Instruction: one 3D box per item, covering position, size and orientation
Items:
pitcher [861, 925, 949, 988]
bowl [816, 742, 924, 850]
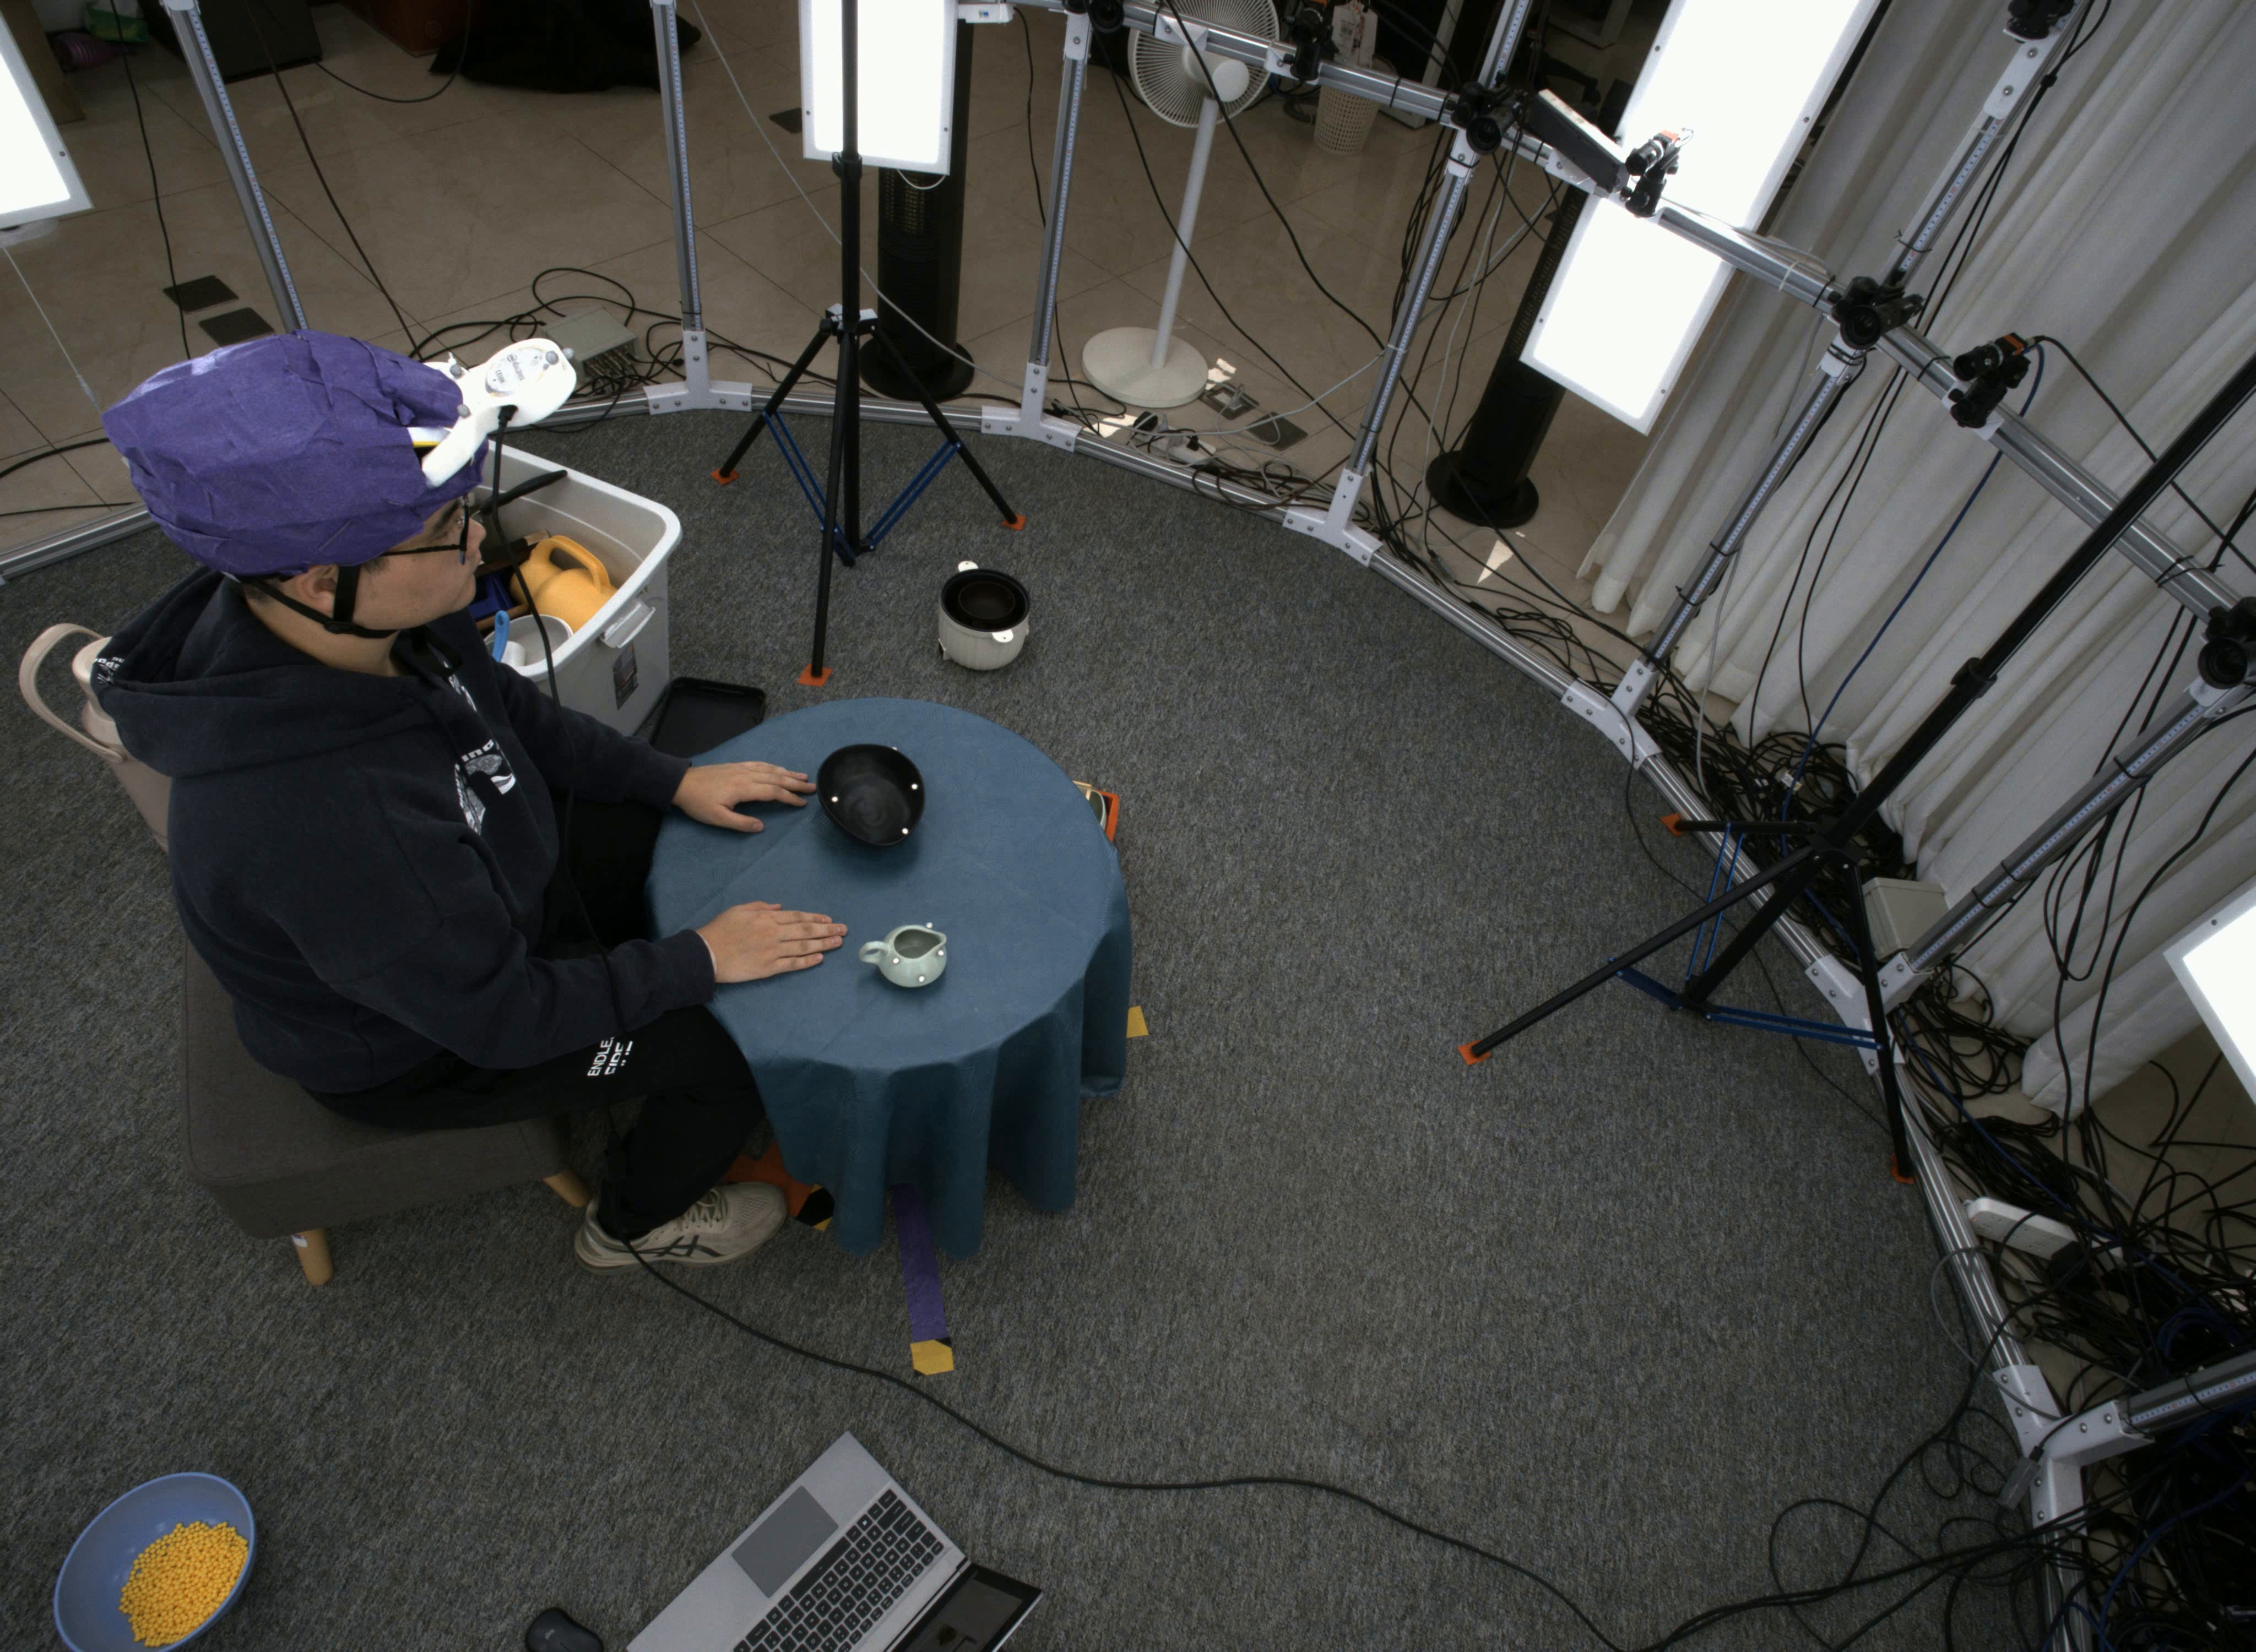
[{"bbox_3d":[-0.275,0.157,1.604,0.108,0.062,0.084,-8,54,-16],"label":"pitcher"},{"bbox_3d":[-0.340,-0.032,1.725,0.138,0.068,0.166,-19,61,-24],"label":"bowl"}]
